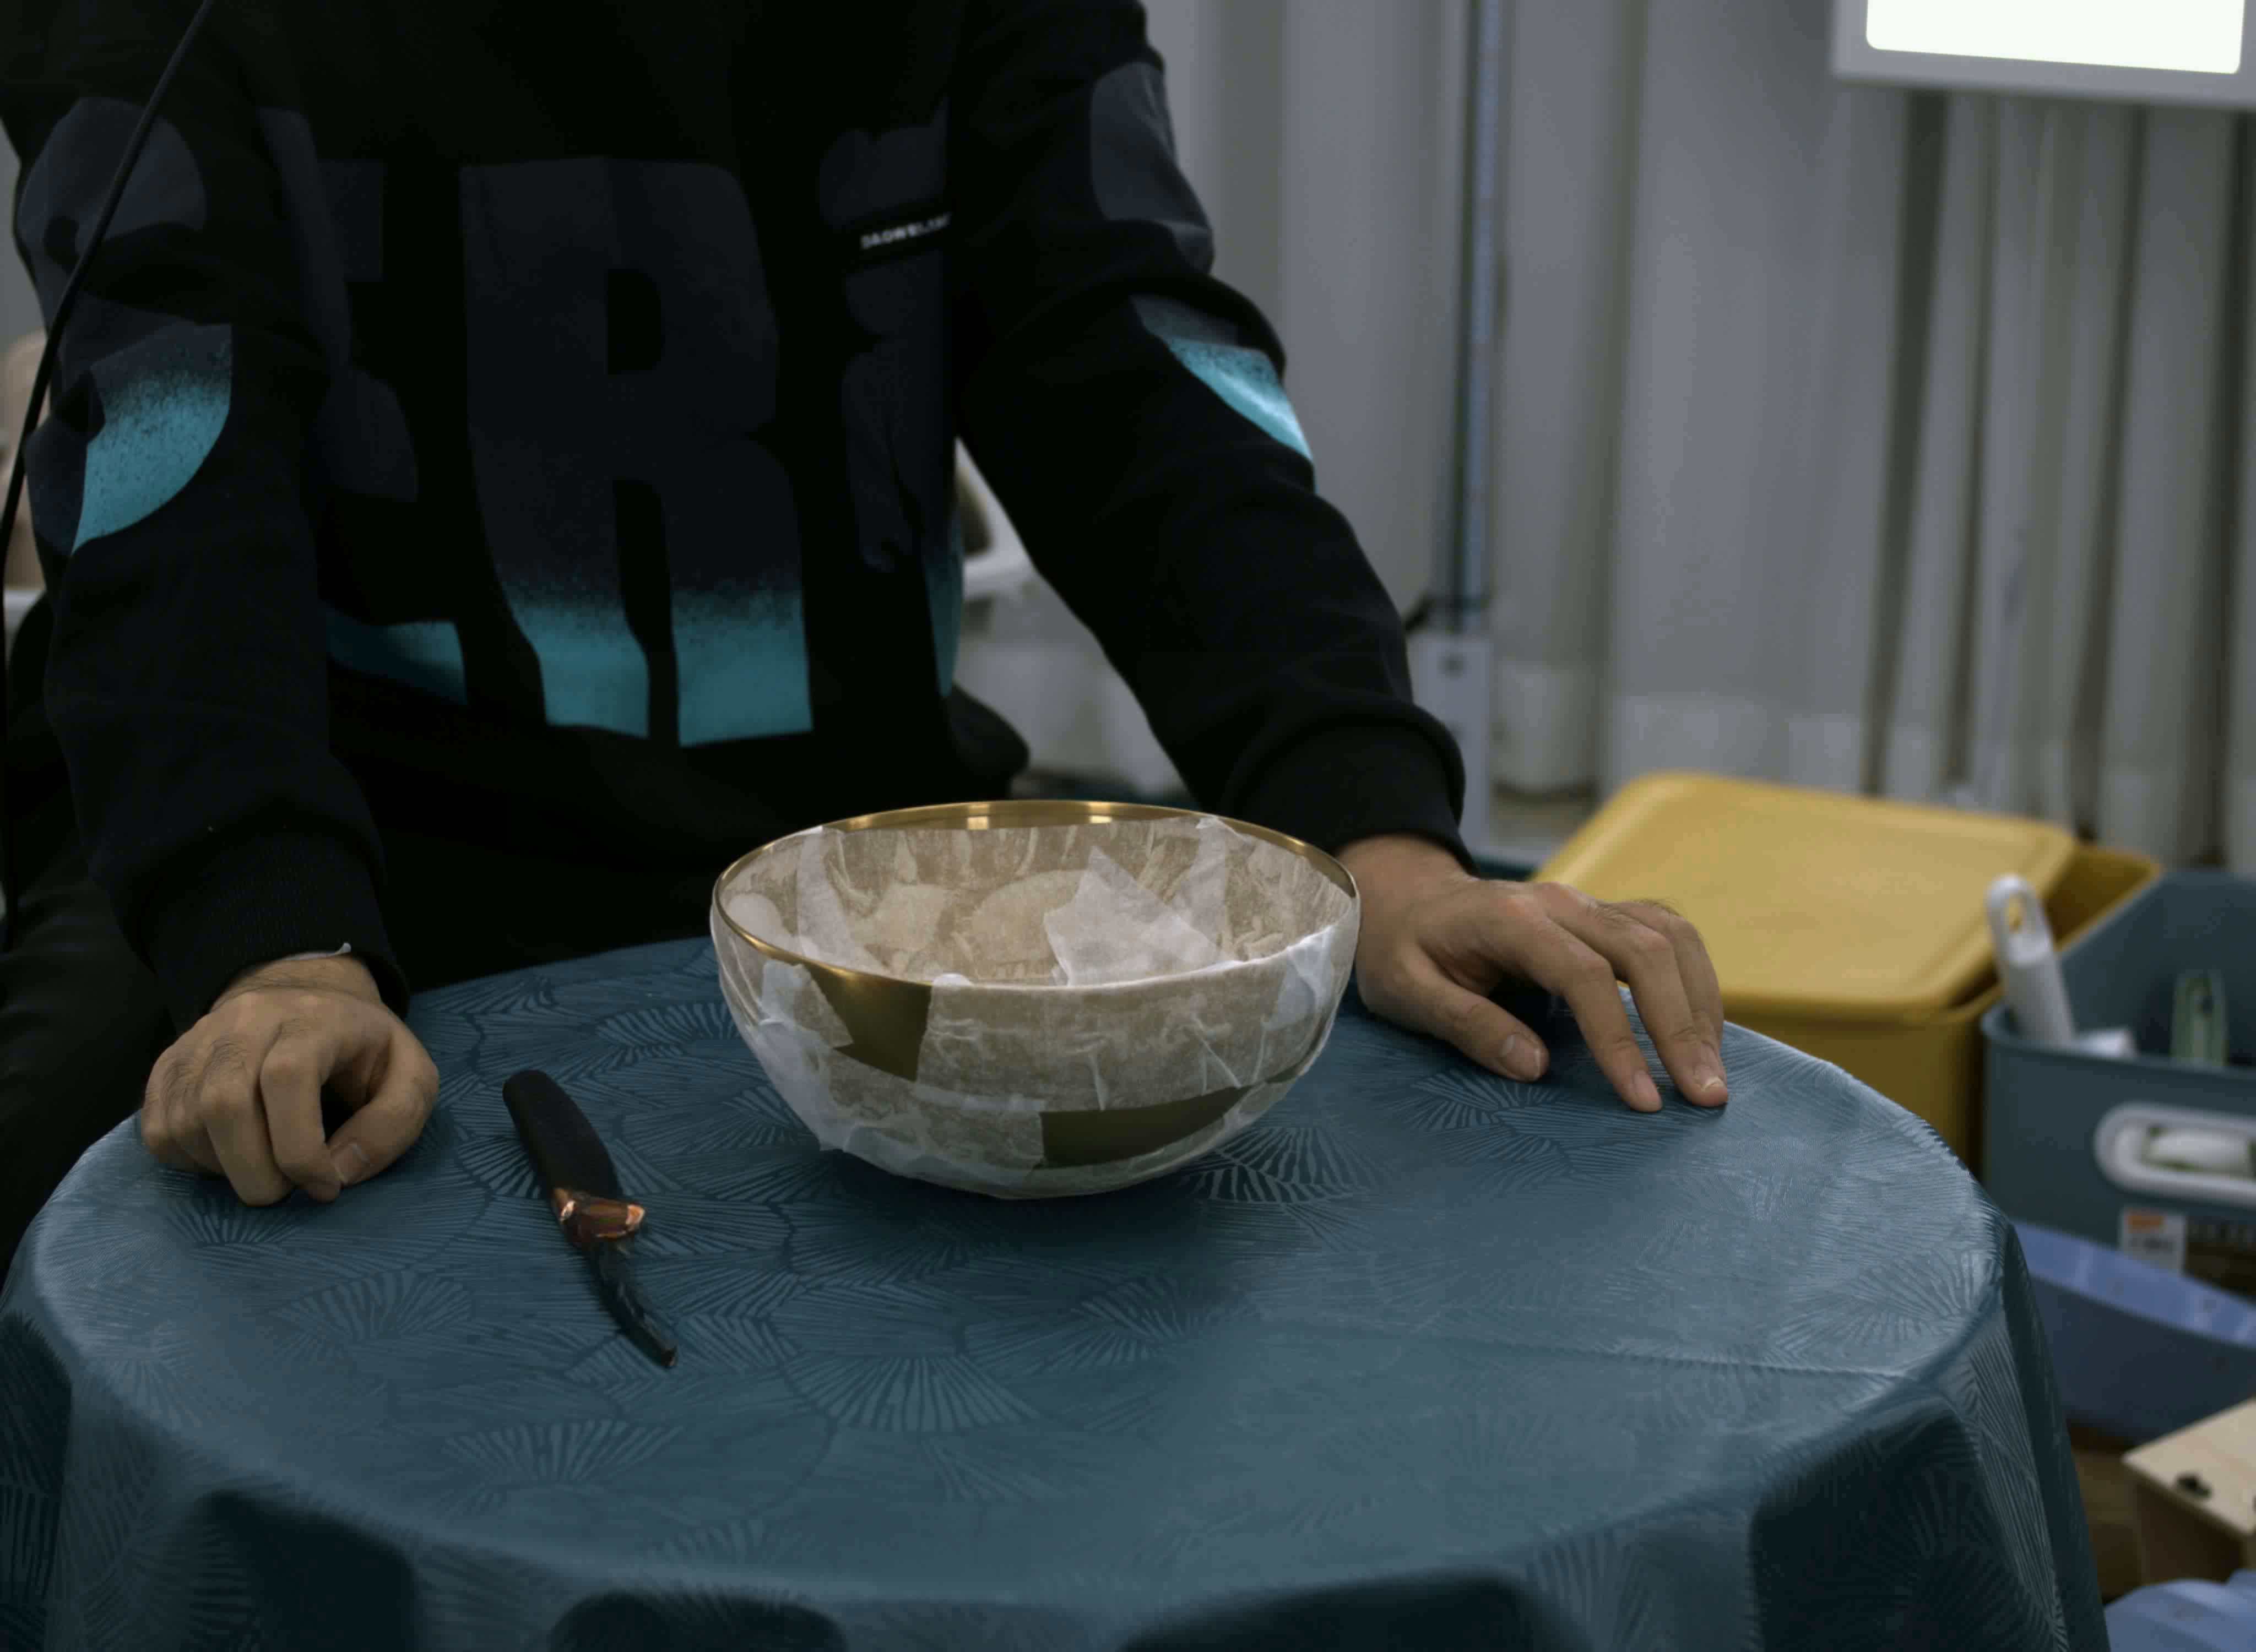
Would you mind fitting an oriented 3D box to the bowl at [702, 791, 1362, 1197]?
[{"bbox_3d":[-0.028,0.059,1.636,0.214,0.095,0.213,-1,16,1],"label":"bowl"}]

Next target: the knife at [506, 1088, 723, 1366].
[{"bbox_3d":[-0.156,0.119,1.575,0.026,0.017,0.223,3,15,-20],"label":"knife"}]
